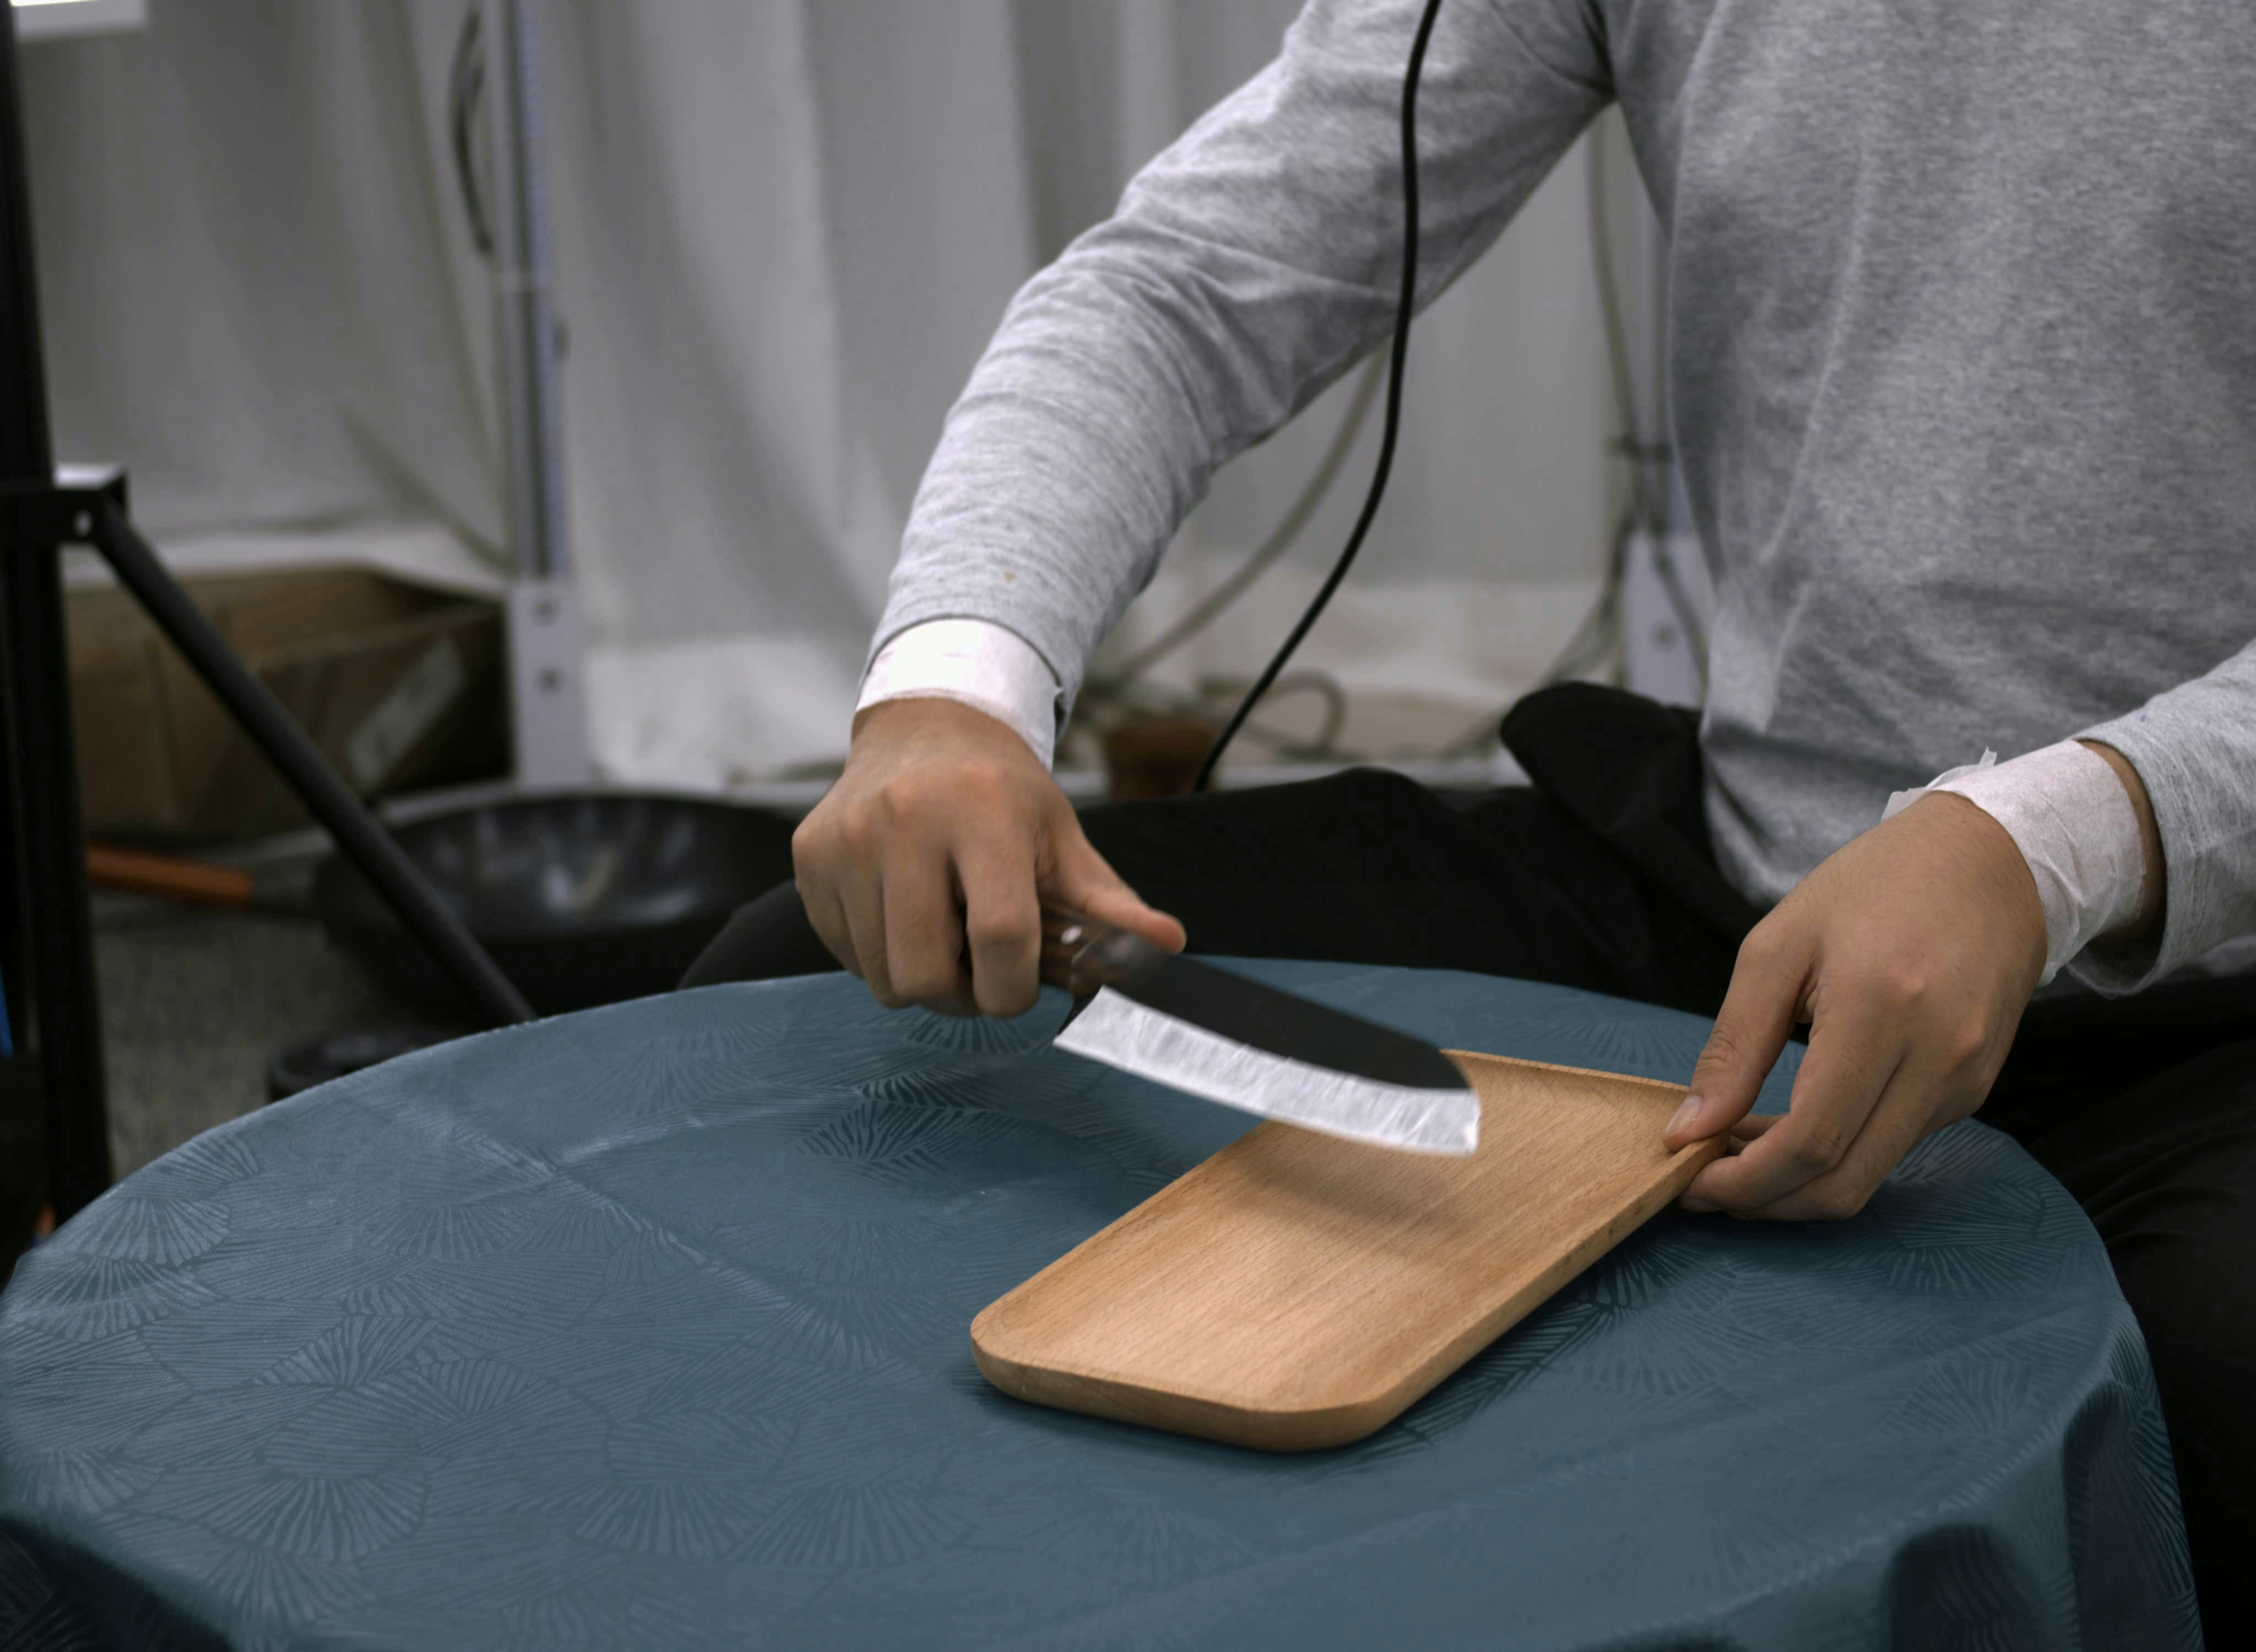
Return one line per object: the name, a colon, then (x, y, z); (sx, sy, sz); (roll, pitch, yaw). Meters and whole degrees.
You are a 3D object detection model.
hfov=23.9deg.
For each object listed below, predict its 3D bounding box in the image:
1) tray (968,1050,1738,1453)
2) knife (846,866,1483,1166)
tray: (0.067, 0.115, 1.476); (0.133, 0.023, 0.246); (10, 22, 32)
knife: (0.007, 0.056, 1.566); (0.050, 0.019, 0.296); (-45, 37, -19)
